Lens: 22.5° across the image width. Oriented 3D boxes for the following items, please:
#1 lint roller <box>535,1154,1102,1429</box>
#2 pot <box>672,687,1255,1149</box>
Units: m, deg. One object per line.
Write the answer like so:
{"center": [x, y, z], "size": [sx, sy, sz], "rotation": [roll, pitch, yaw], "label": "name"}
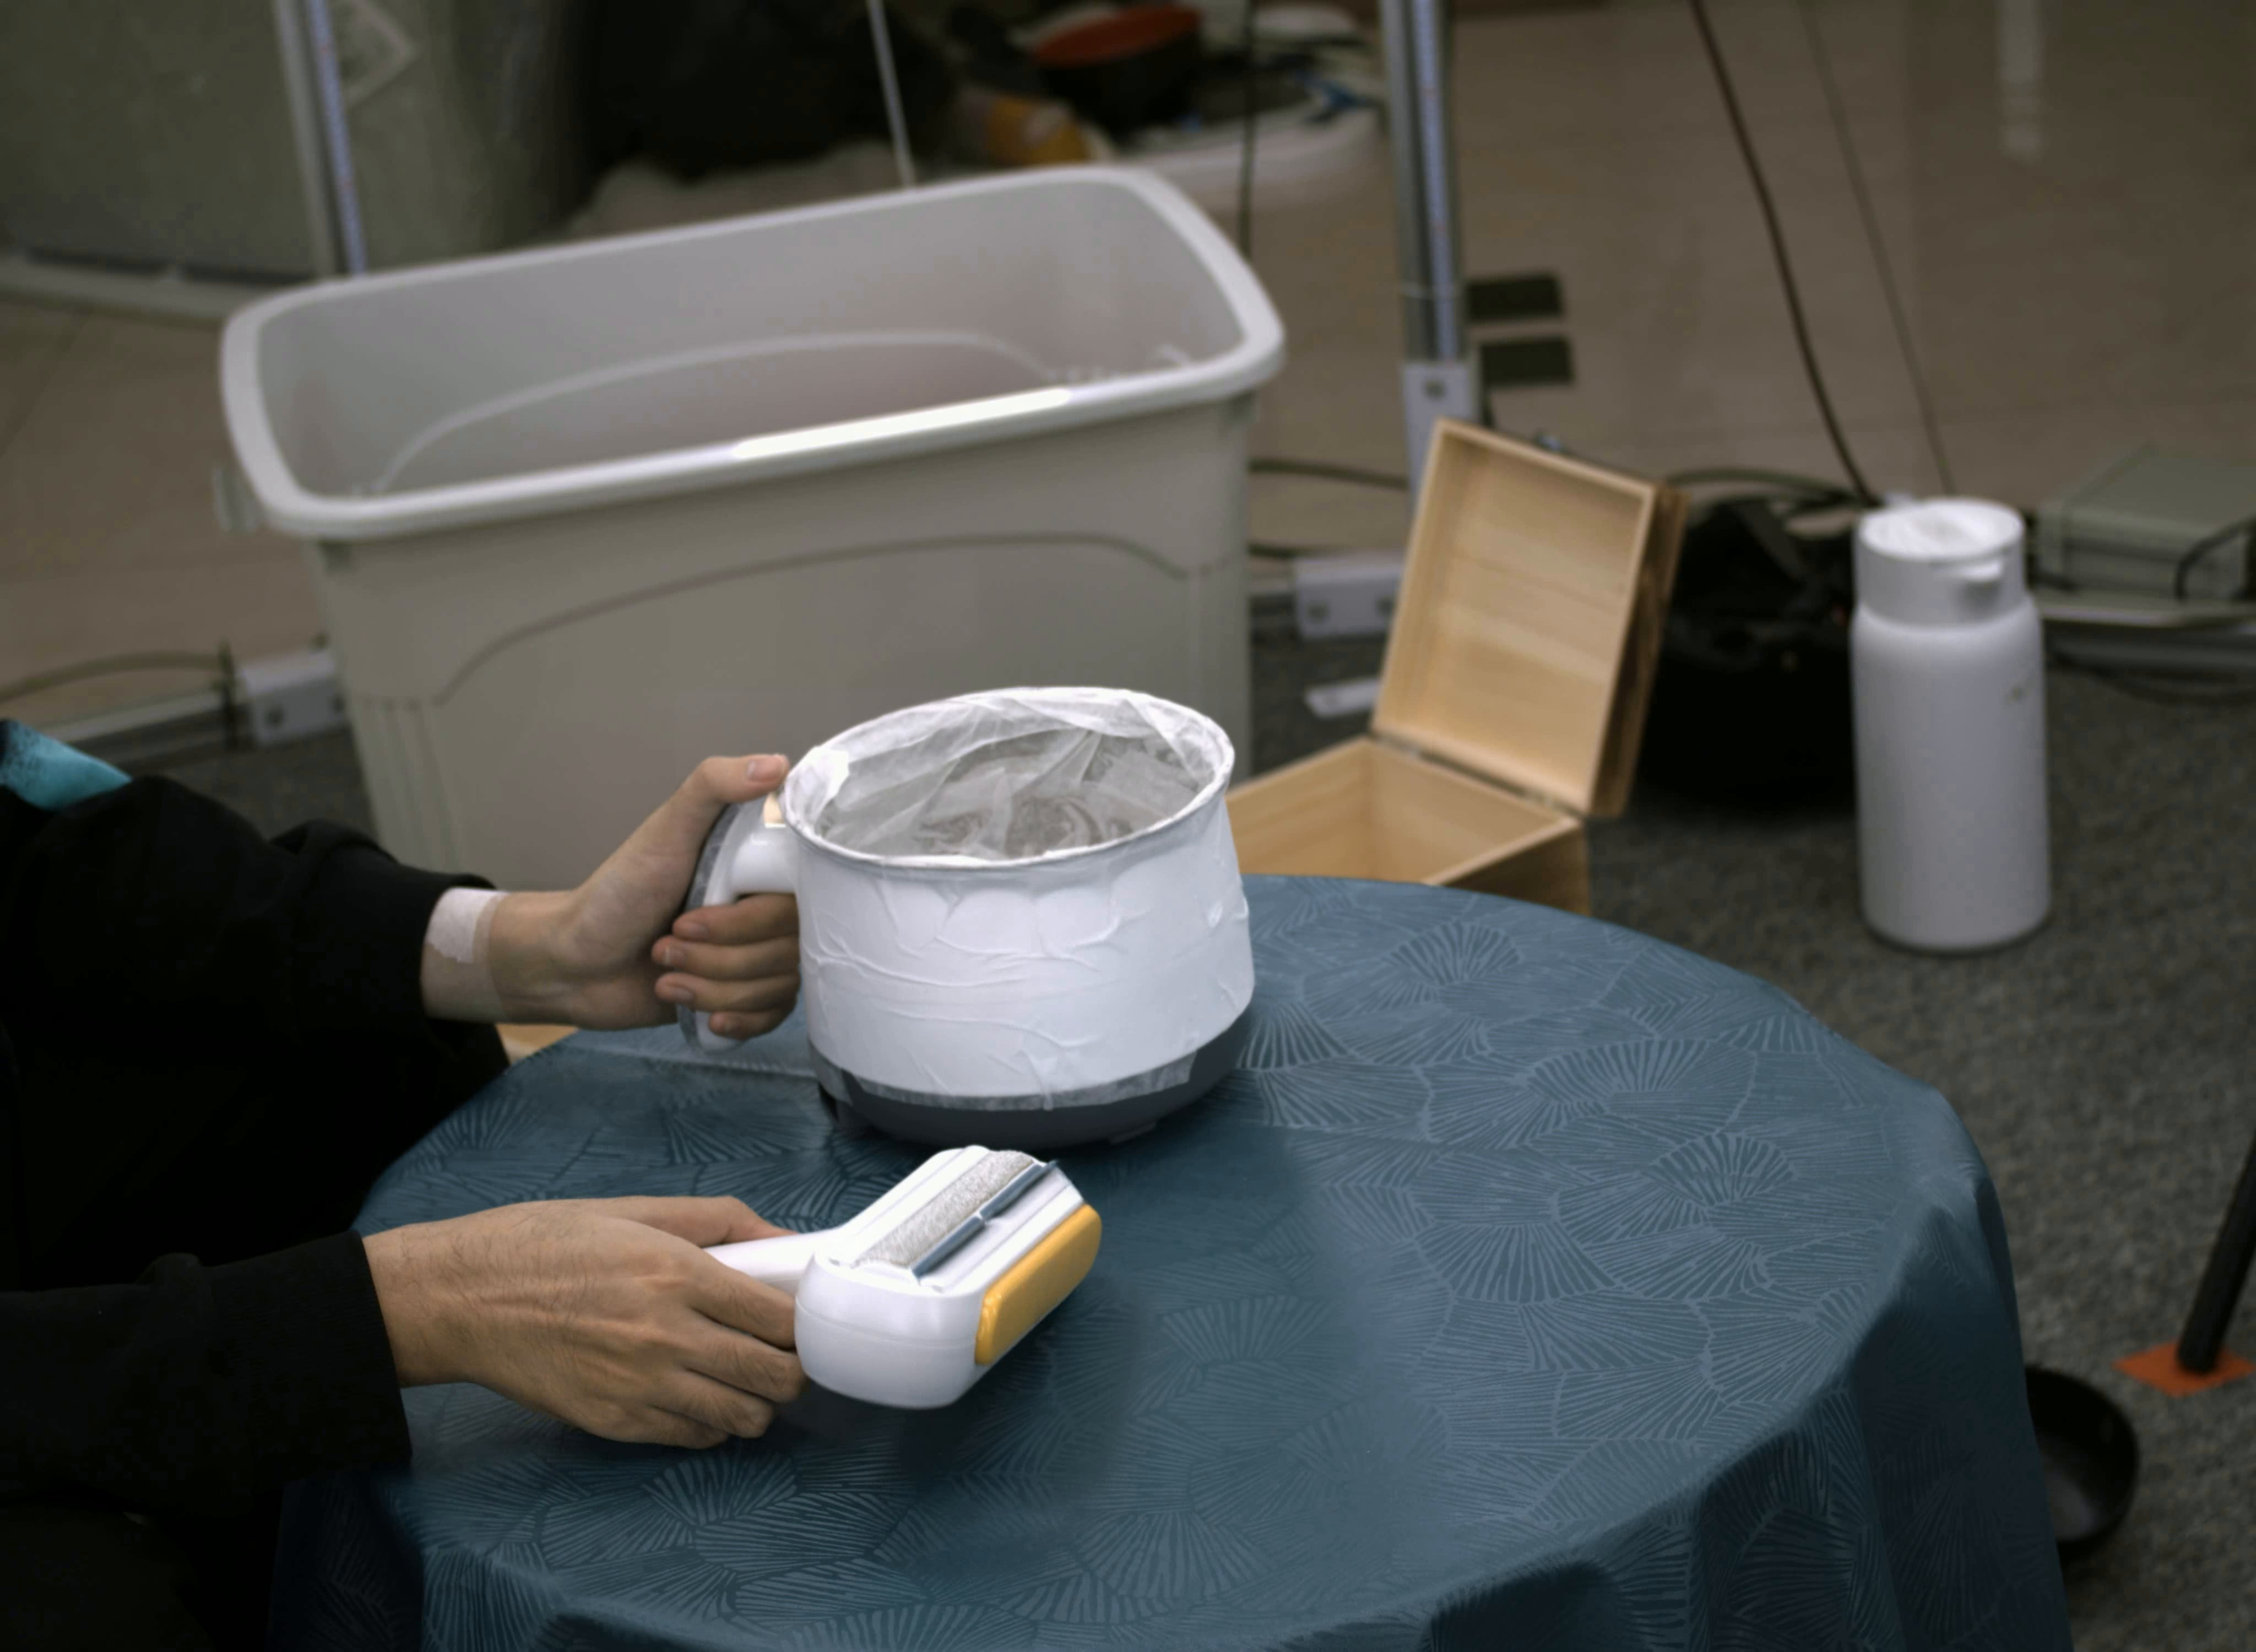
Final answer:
{"center": [-0.121, 0.162, 2.019], "size": [0.192, 0.075, 0.191], "rotation": [6, 17, 18], "label": "lint roller"}
{"center": [-0.067, 0.037, 2.207], "size": [0.233, 0.138, 0.176], "rotation": [1, 23, 12], "label": "pot"}
